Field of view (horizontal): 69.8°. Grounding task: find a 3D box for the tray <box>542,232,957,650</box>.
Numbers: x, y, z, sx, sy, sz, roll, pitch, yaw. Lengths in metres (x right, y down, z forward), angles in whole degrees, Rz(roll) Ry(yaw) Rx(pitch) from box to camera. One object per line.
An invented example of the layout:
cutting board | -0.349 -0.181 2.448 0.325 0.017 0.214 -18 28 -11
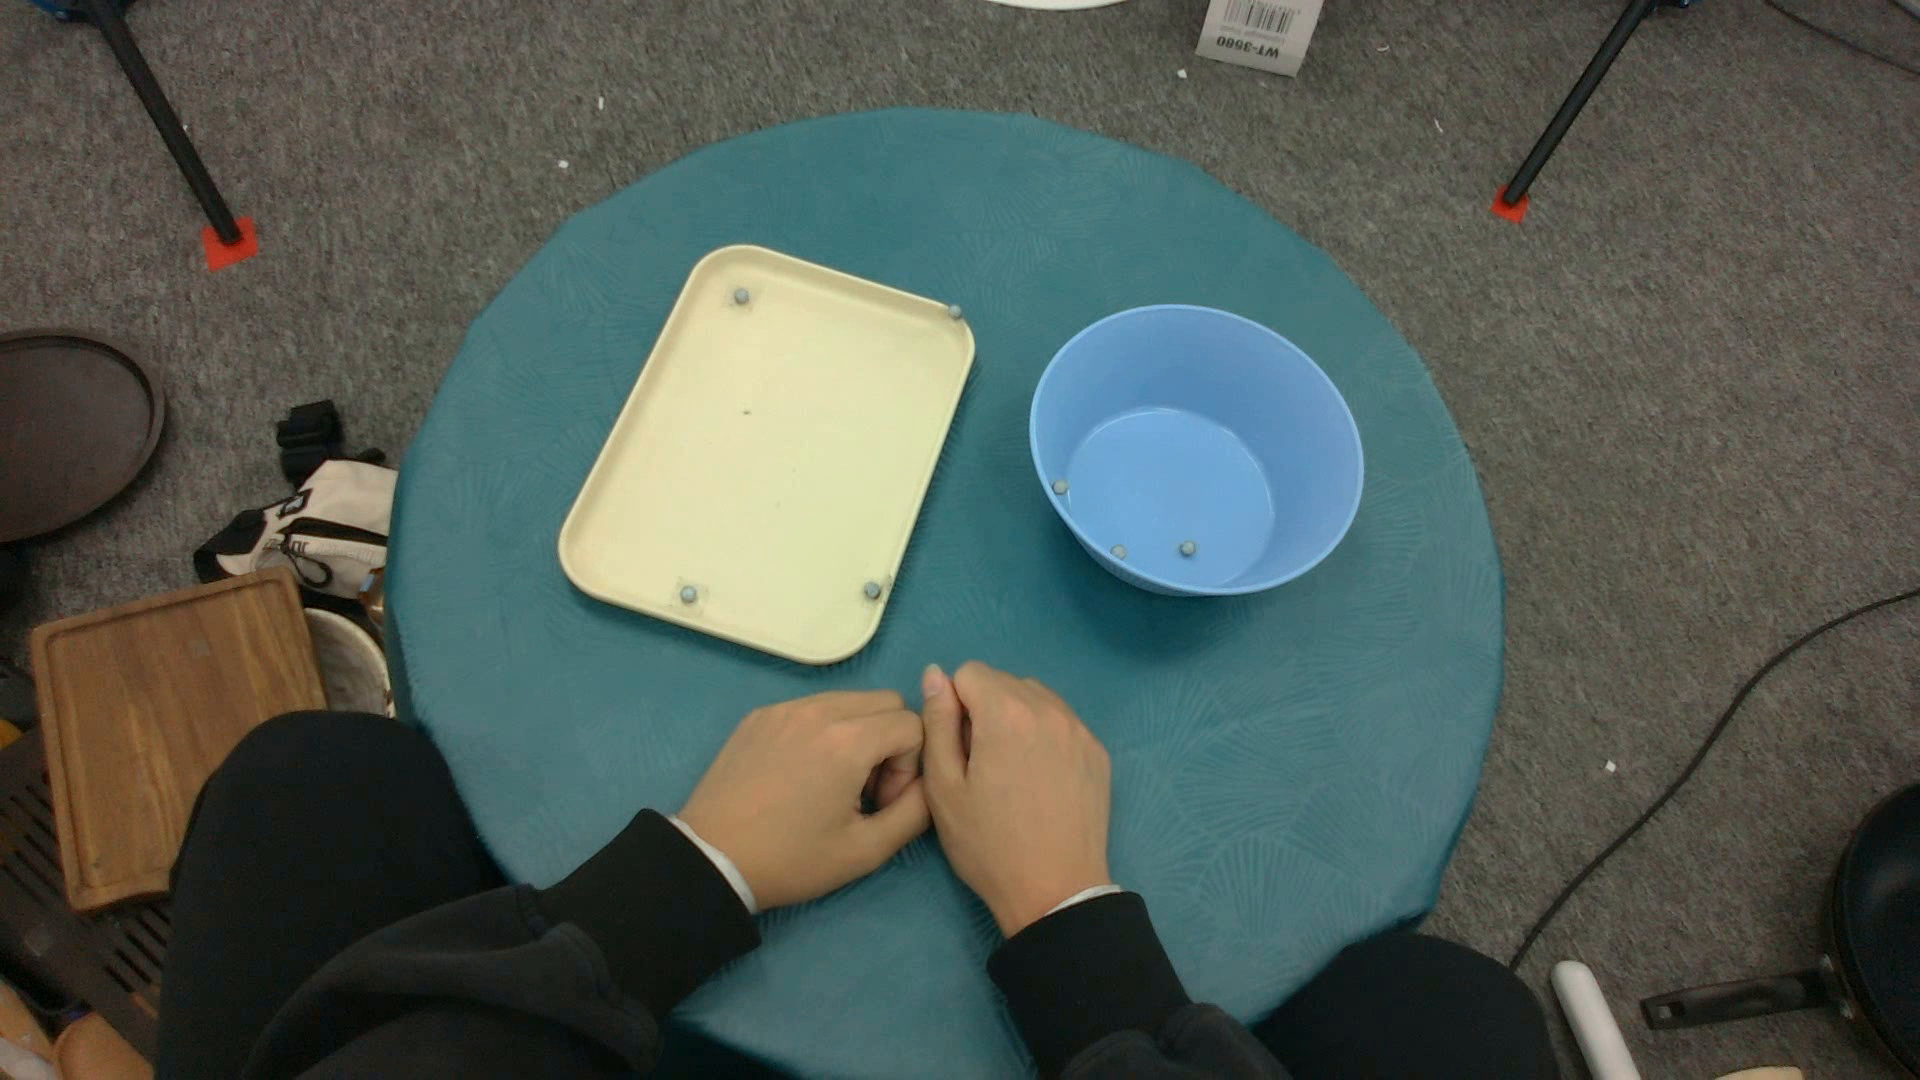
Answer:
tray | -0.108 -0.060 0.750 0.171 0.017 0.241 17 61 2

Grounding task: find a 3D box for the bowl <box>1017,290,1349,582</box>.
bowl | 0.114 -0.044 0.742 0.176 0.070 0.177 3 62 -5
